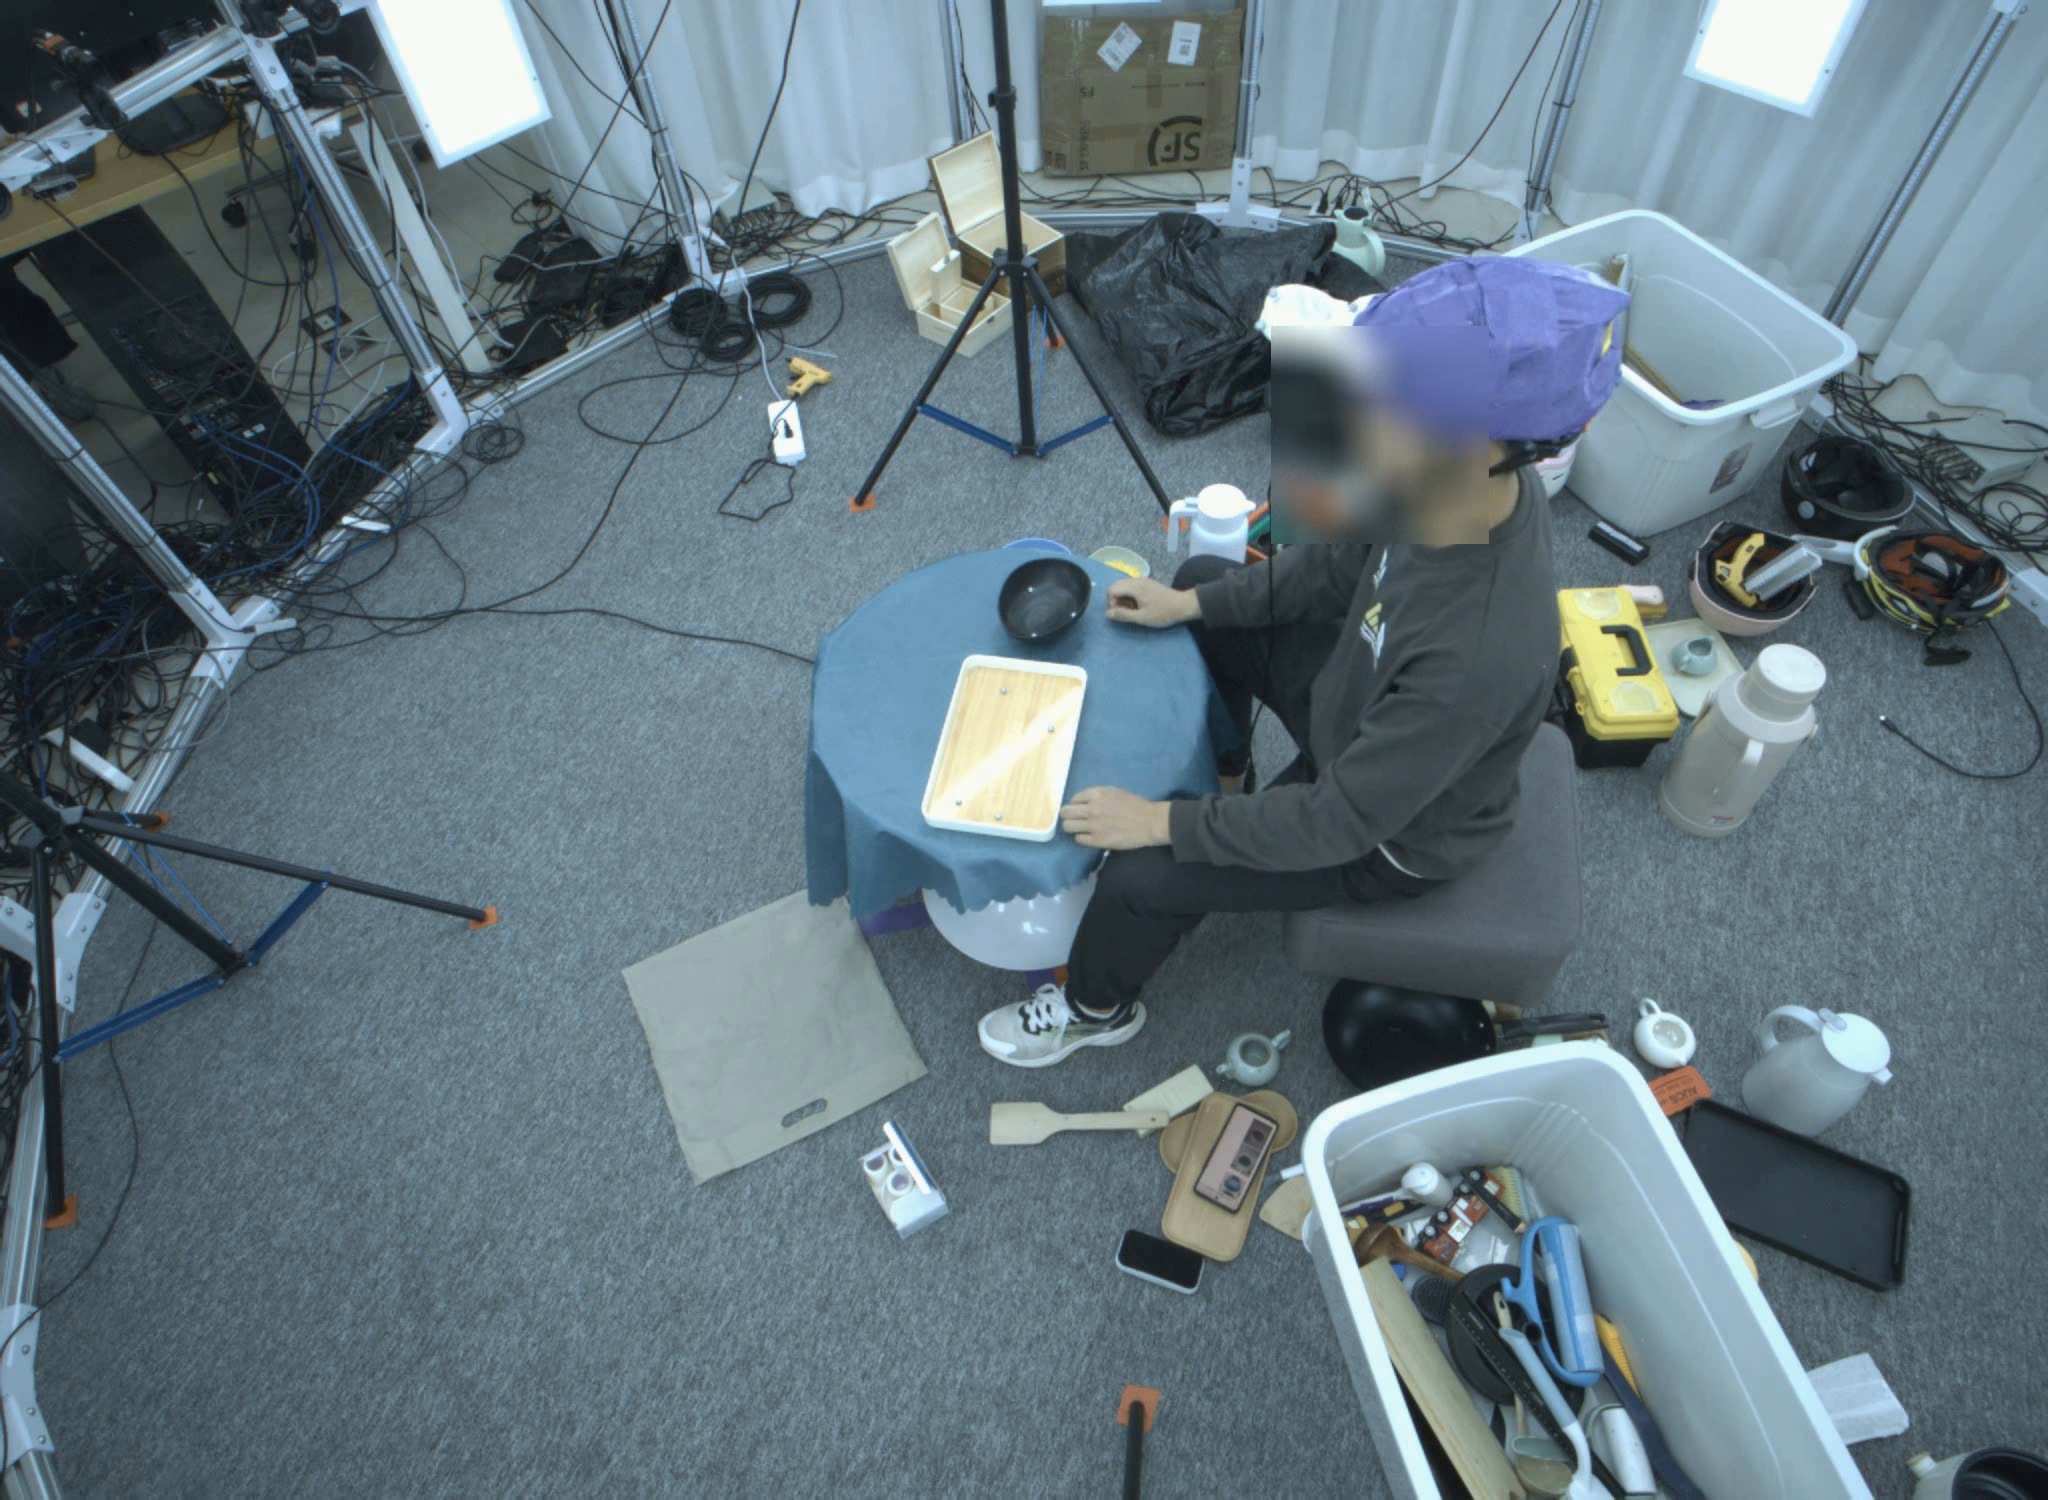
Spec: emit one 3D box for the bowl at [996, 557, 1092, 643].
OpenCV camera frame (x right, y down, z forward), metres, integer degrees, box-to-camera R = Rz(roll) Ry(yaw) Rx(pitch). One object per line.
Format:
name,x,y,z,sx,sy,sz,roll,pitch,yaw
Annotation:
bowl,0.032,-0.222,1.904,0.135,0.067,0.170,24,60,19

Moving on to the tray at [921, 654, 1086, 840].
tray,-0.025,-0.010,1.777,0.190,0.028,0.298,8,55,7
